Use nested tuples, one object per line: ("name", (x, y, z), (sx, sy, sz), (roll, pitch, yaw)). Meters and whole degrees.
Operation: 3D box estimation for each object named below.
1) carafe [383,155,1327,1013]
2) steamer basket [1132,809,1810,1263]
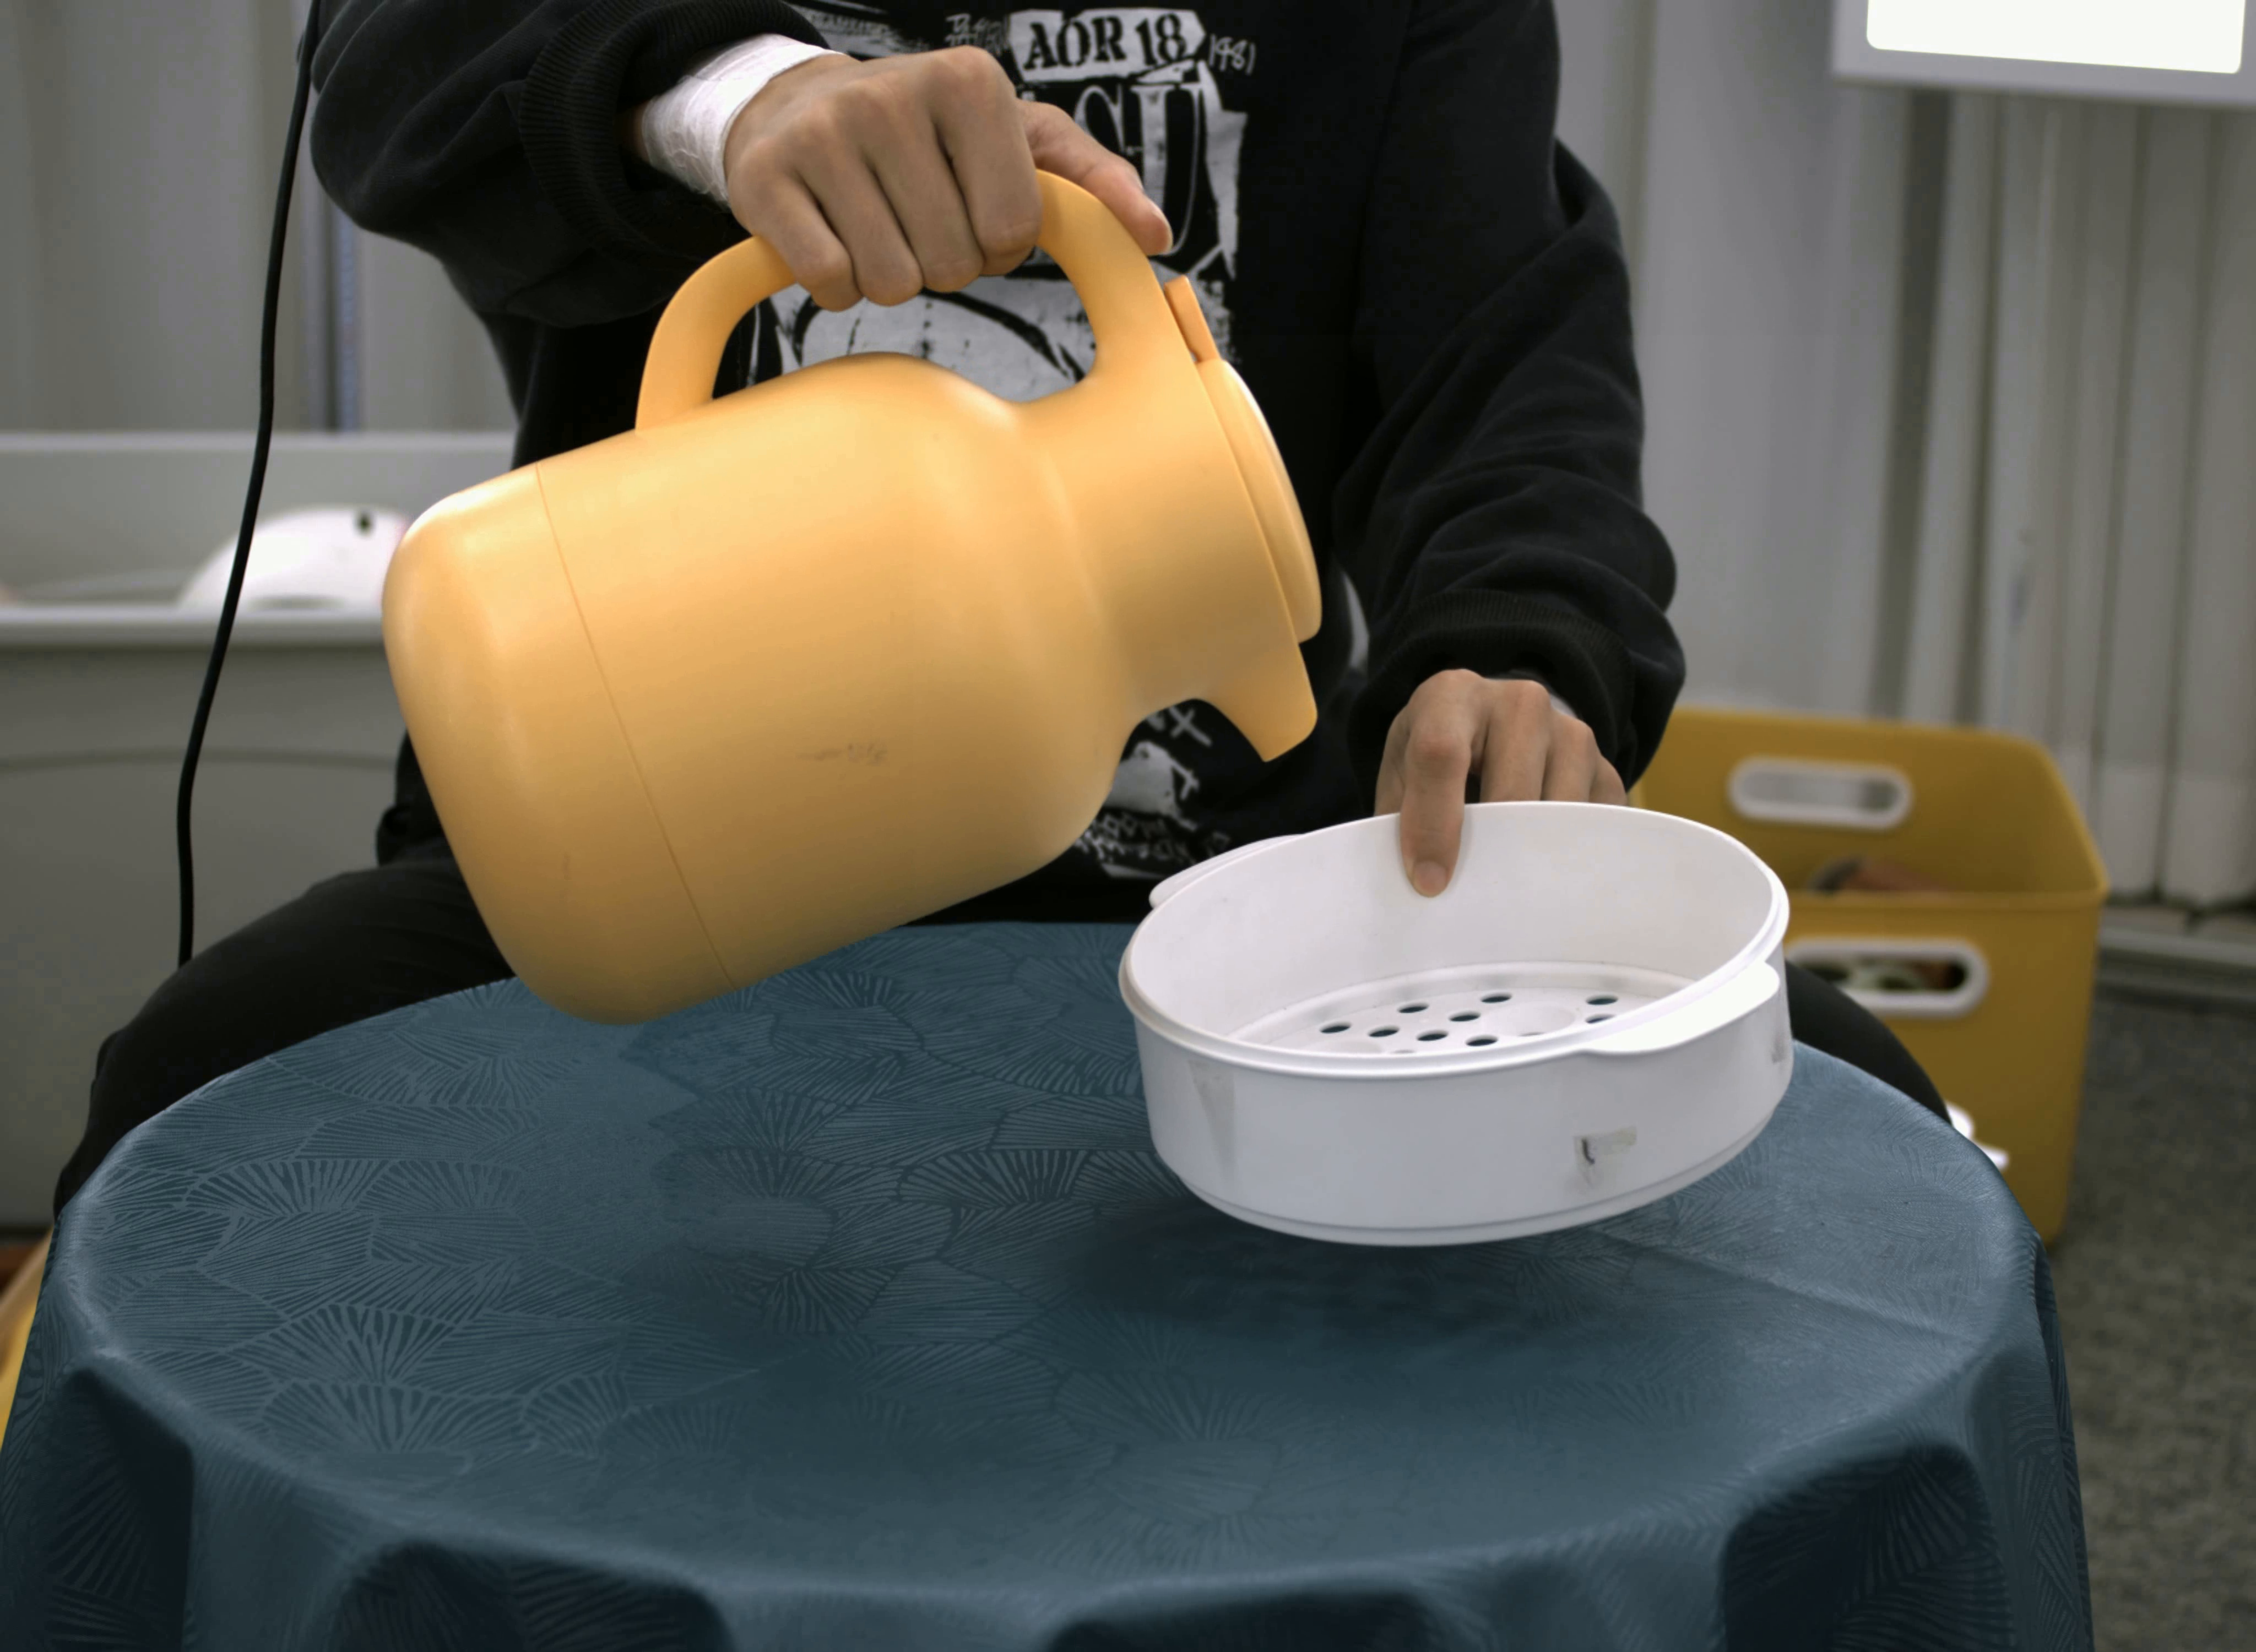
("carafe", (-0.080, -0.074, 1.510), (0.260, 0.203, 0.163), (-19, 4, -4))
("steamer basket", (0.104, 0.062, 1.566), (0.202, 0.070, 0.227), (-24, 26, -34))
